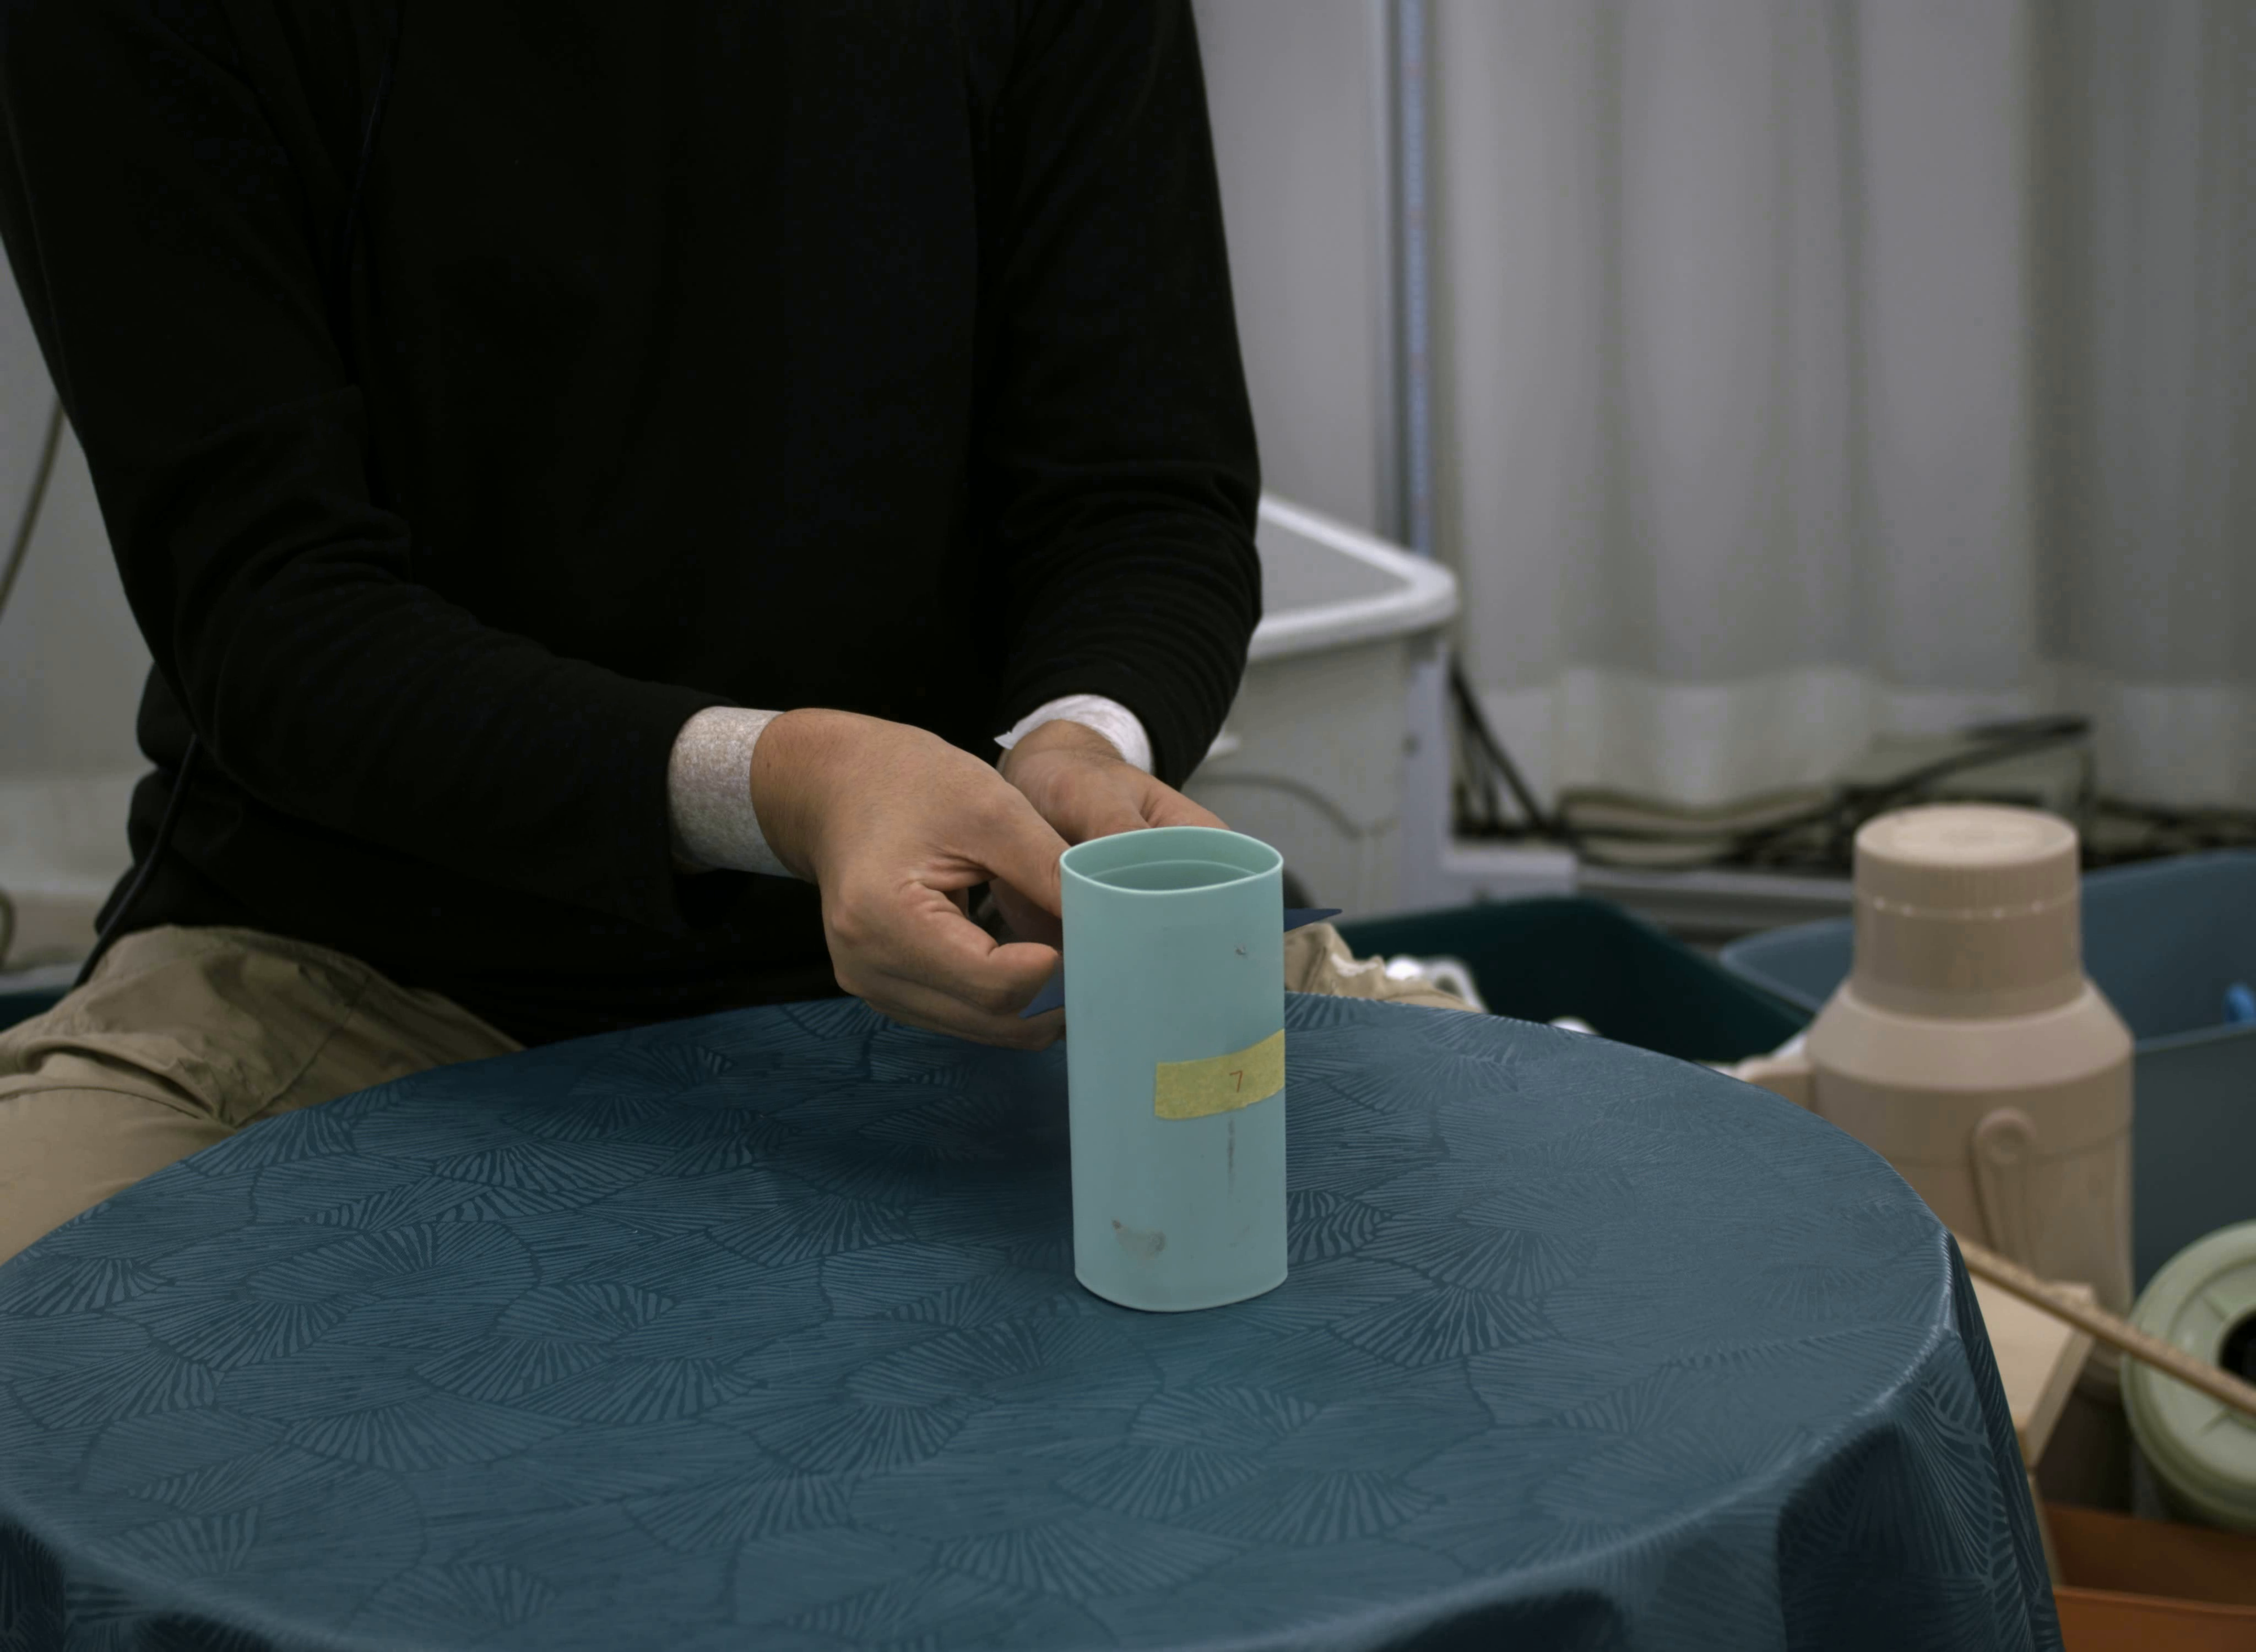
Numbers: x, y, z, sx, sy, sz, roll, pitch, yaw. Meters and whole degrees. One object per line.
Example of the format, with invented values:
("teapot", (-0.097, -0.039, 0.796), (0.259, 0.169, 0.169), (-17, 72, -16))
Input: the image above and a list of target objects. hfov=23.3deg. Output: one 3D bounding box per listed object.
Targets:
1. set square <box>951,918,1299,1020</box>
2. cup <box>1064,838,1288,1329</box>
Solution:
("set square", (-0.014, 0.038, 1.678), (0.131, 0.006, 0.061), (-16, 19, -38))
("cup", (0.014, 0.075, 1.618), (0.066, 0.132, 0.067), (-1, 16, 0))
